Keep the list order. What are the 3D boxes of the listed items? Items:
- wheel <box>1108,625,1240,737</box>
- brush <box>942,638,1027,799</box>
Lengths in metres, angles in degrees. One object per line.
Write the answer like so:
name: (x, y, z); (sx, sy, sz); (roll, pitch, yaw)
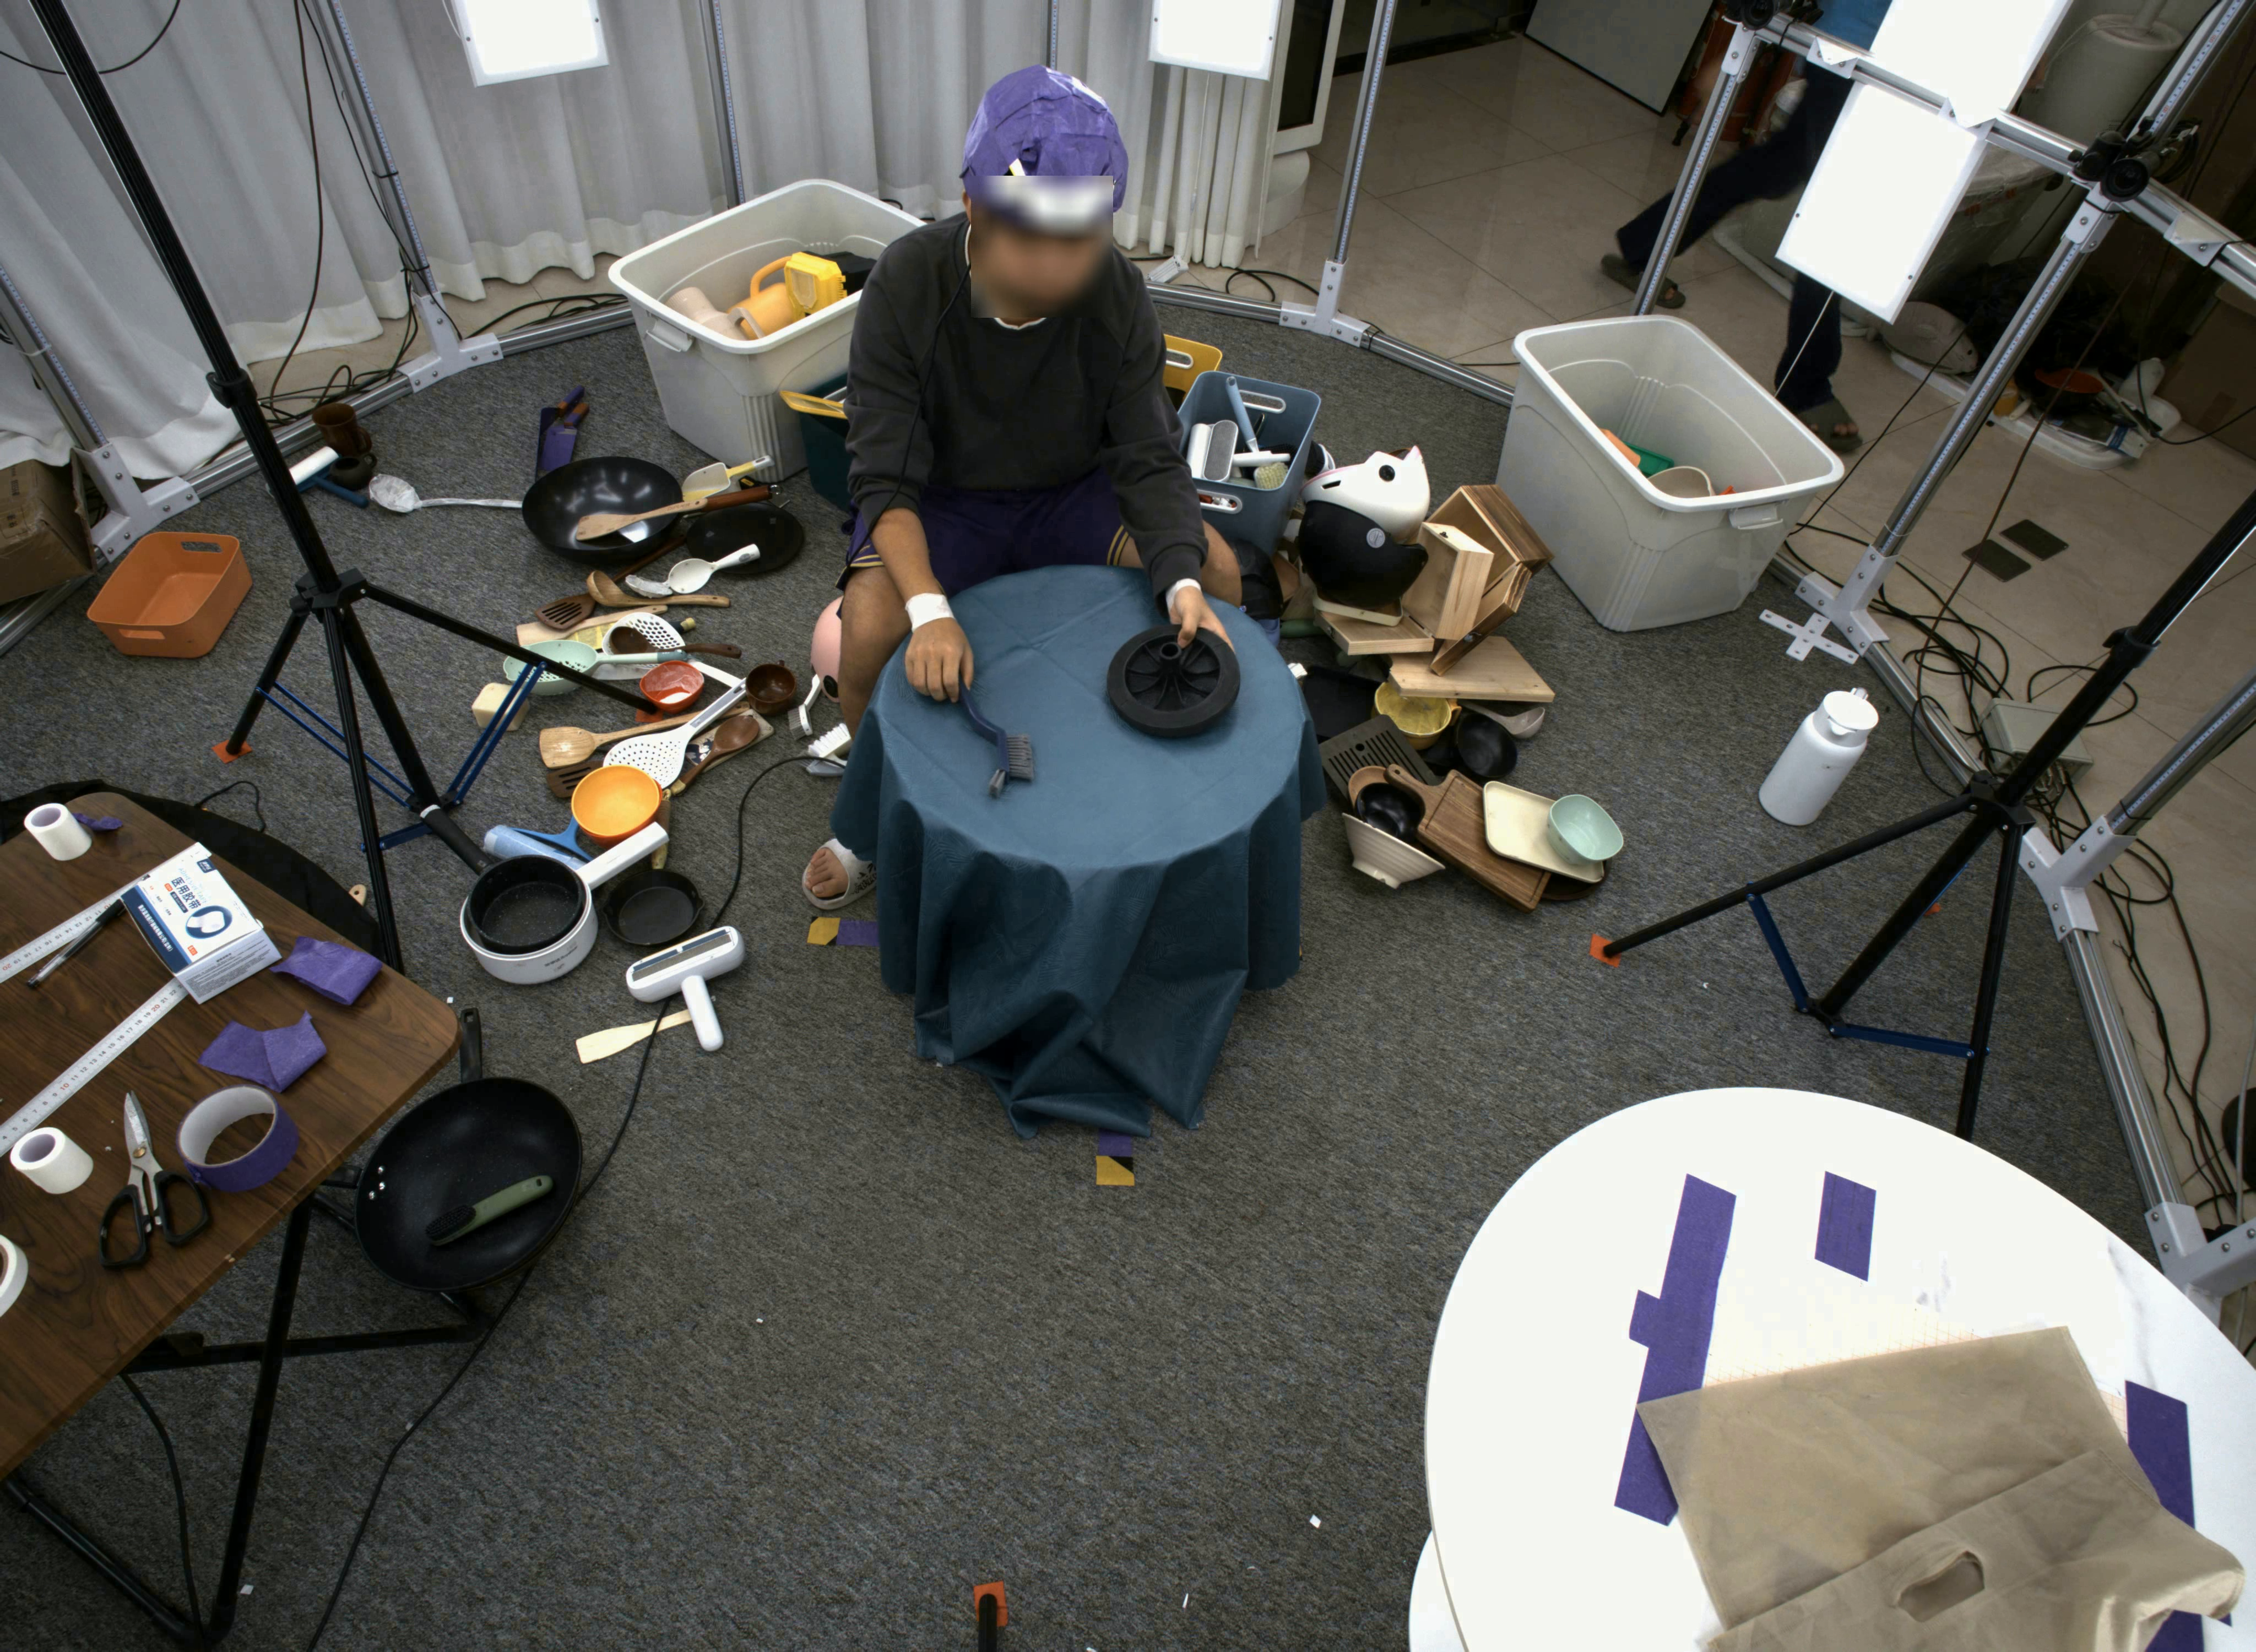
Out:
wheel: (0.062, -0.219, 1.798); (0.187, 0.077, 0.194); (-3, 55, 6)
brush: (-0.218, -0.154, 1.764); (0.096, 0.033, 0.279); (-23, 56, -22)
